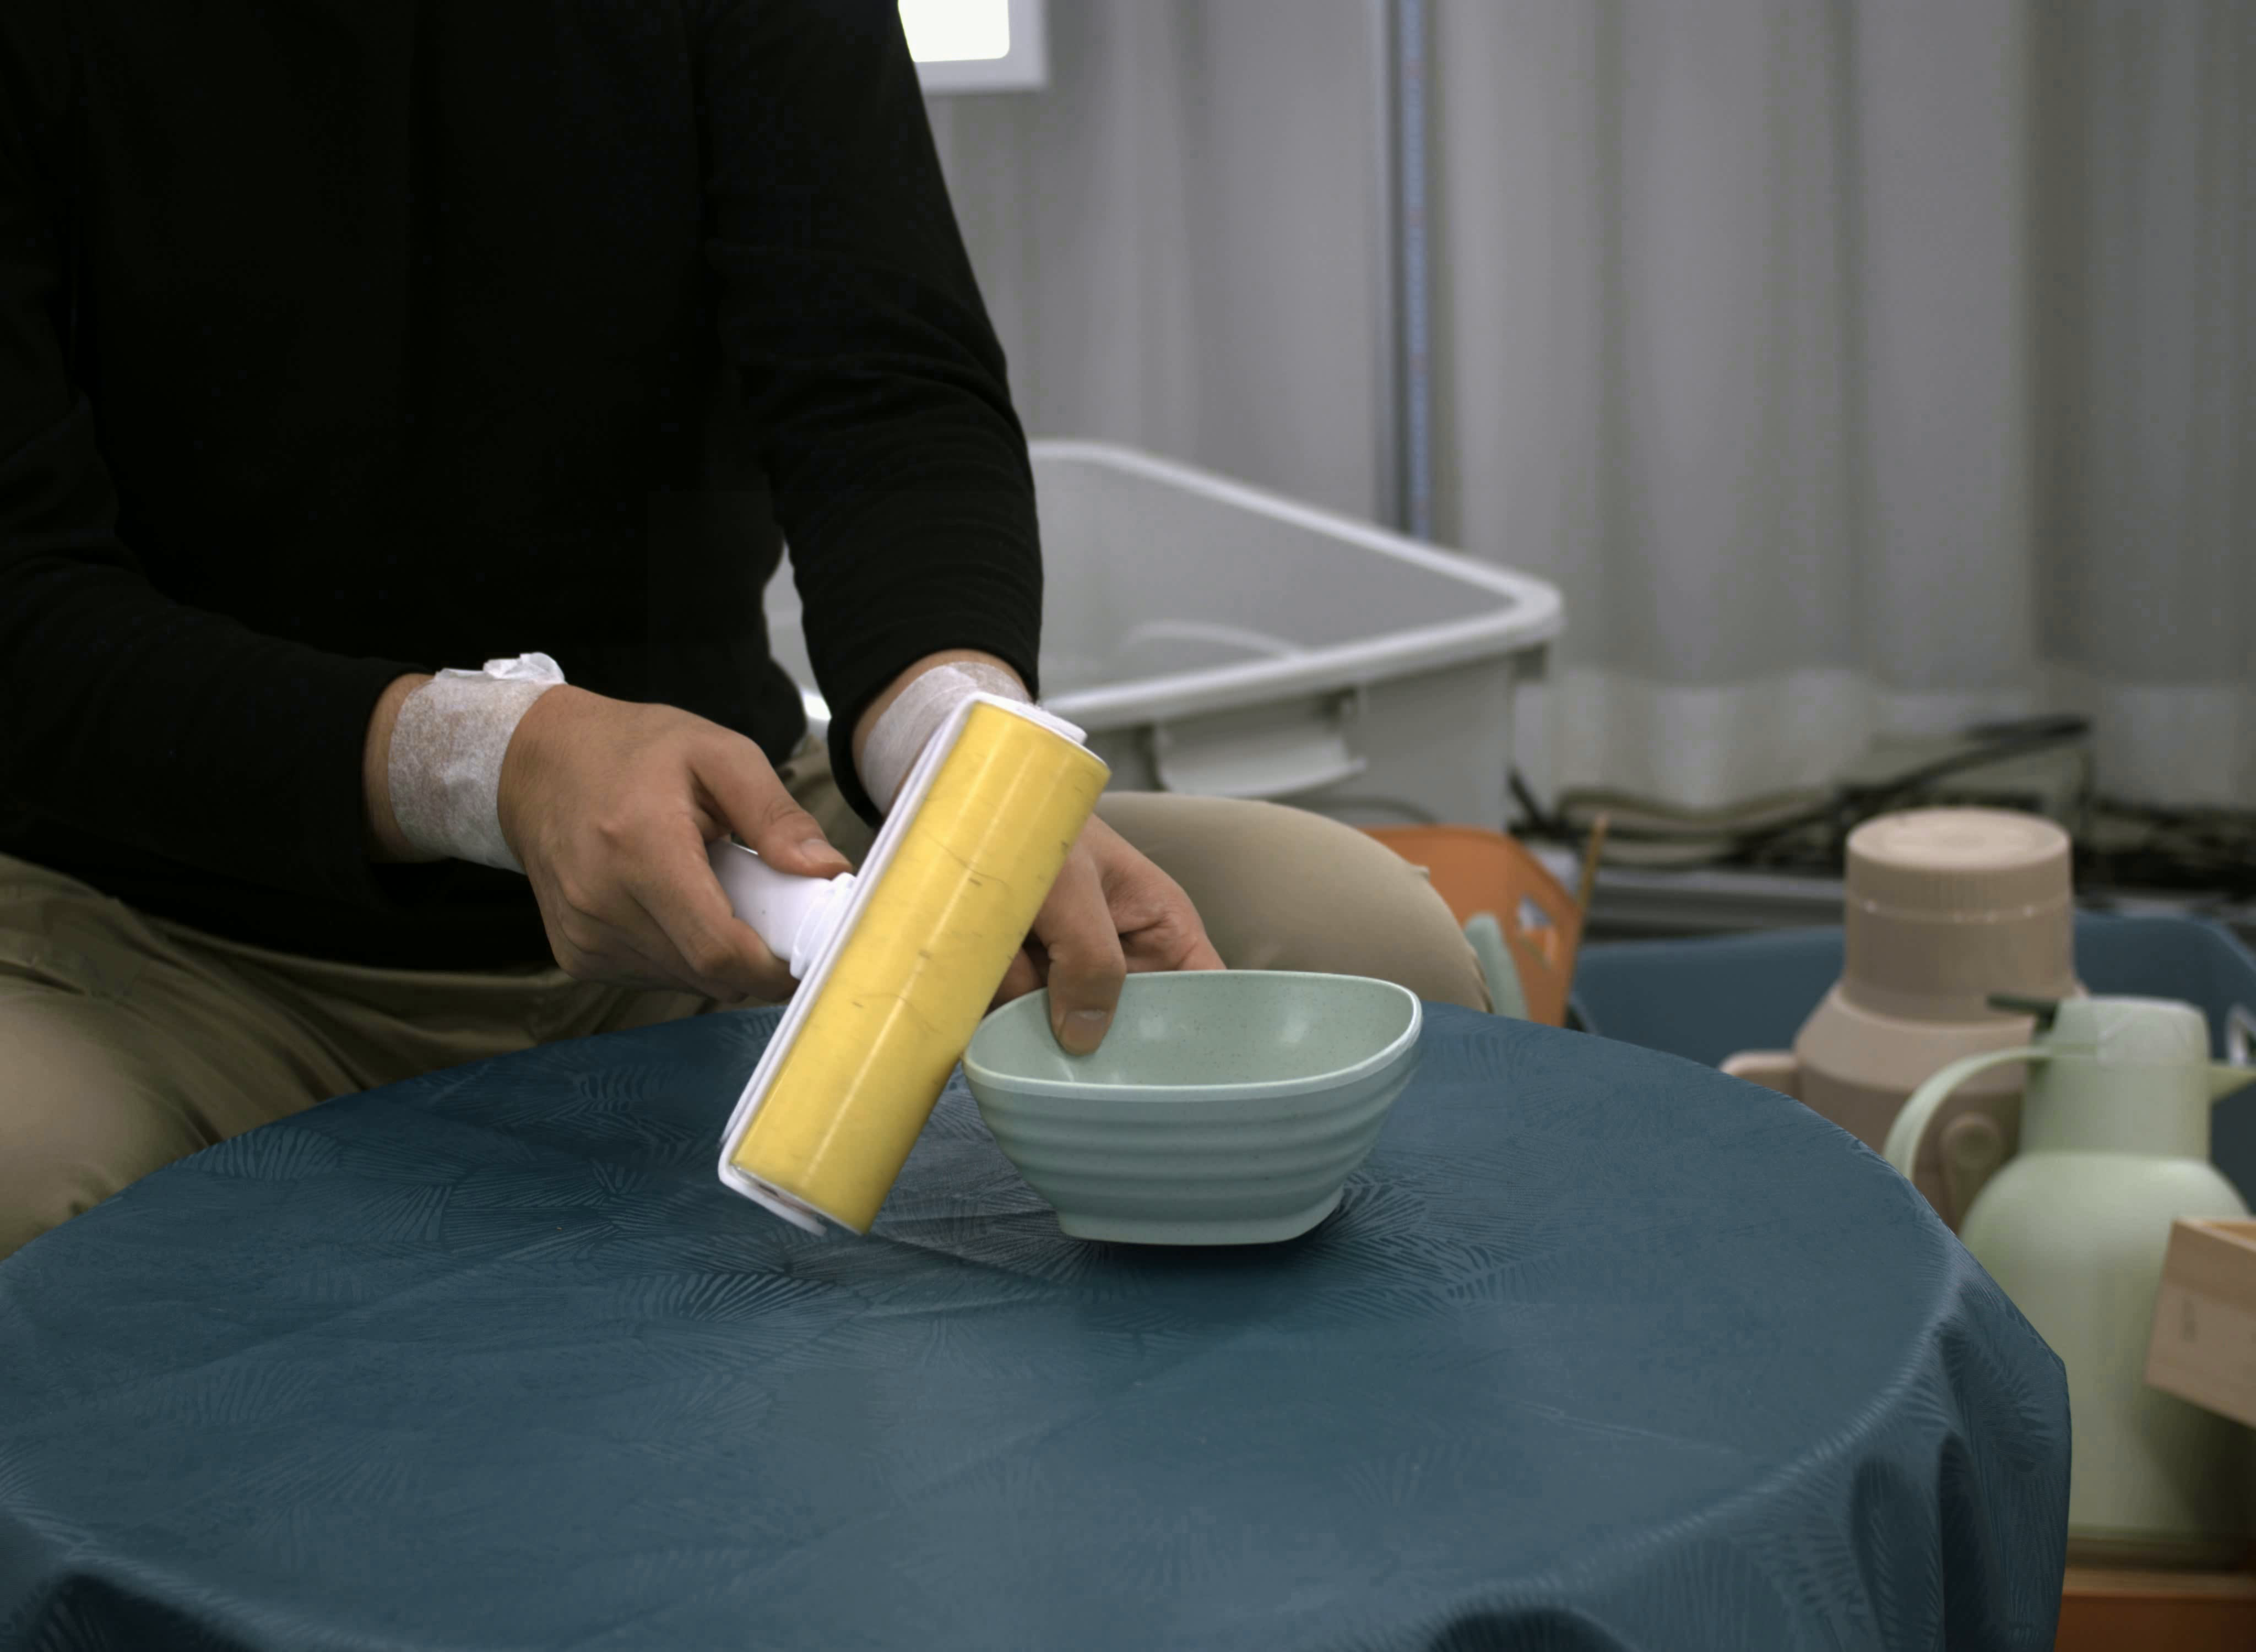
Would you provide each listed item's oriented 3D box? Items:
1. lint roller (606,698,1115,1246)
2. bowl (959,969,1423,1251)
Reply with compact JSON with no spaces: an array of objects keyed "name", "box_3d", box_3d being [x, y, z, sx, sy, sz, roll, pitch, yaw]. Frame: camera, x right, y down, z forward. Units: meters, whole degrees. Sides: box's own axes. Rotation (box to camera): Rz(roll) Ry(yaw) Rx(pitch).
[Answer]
[{"name":"lint roller","box_3d":[-0.110,0.028,1.706,0.193,0.175,0.051,19,-12,42]},{"name":"bowl","box_3d":[0.020,0.090,1.673,0.151,0.058,0.152,-2,13,0]}]
